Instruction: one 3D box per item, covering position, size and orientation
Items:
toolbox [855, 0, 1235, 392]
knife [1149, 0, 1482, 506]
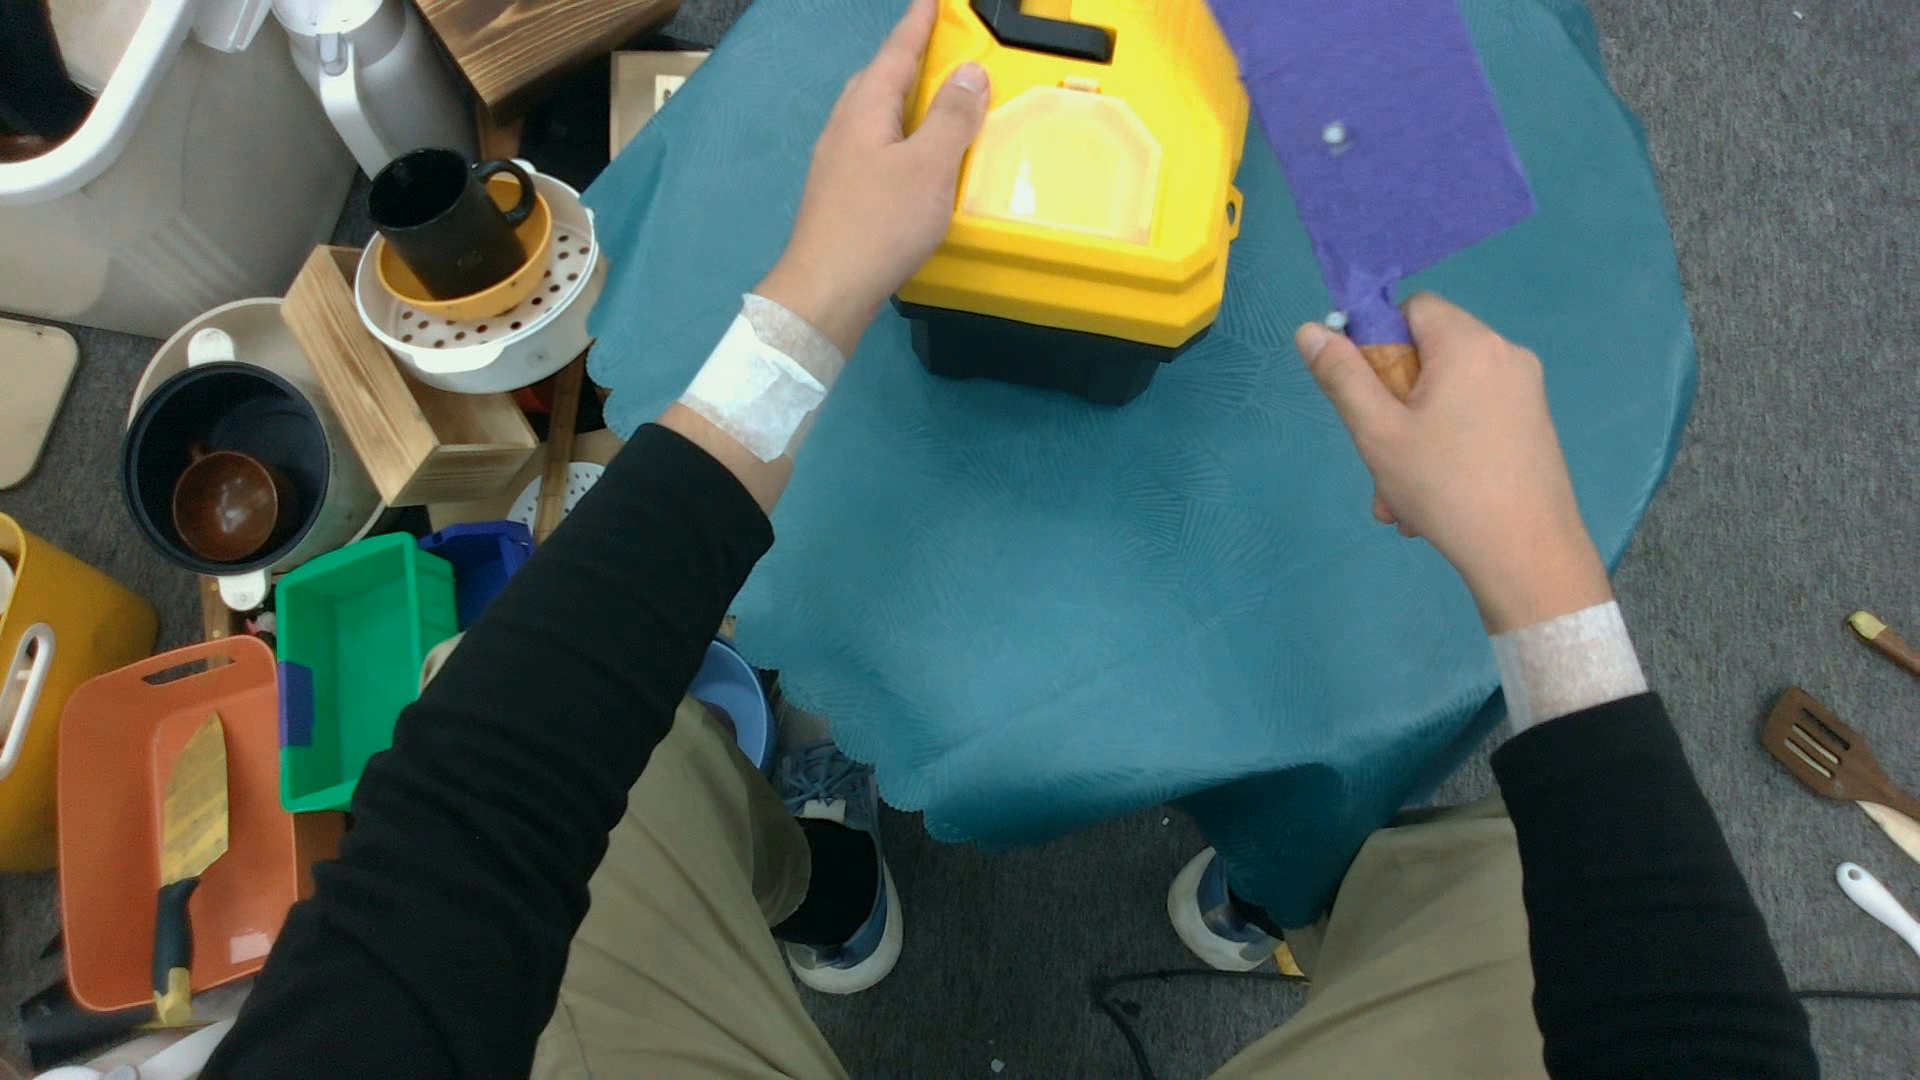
[{"bbox_3d":[0.057,-0.262,0.737,0.181,0.172,0.352,10,73,1],"label":"toolbox"},{"bbox_3d":[0.157,-0.169,0.584,0.032,0.103,0.315,-26,86,-48],"label":"knife"}]
